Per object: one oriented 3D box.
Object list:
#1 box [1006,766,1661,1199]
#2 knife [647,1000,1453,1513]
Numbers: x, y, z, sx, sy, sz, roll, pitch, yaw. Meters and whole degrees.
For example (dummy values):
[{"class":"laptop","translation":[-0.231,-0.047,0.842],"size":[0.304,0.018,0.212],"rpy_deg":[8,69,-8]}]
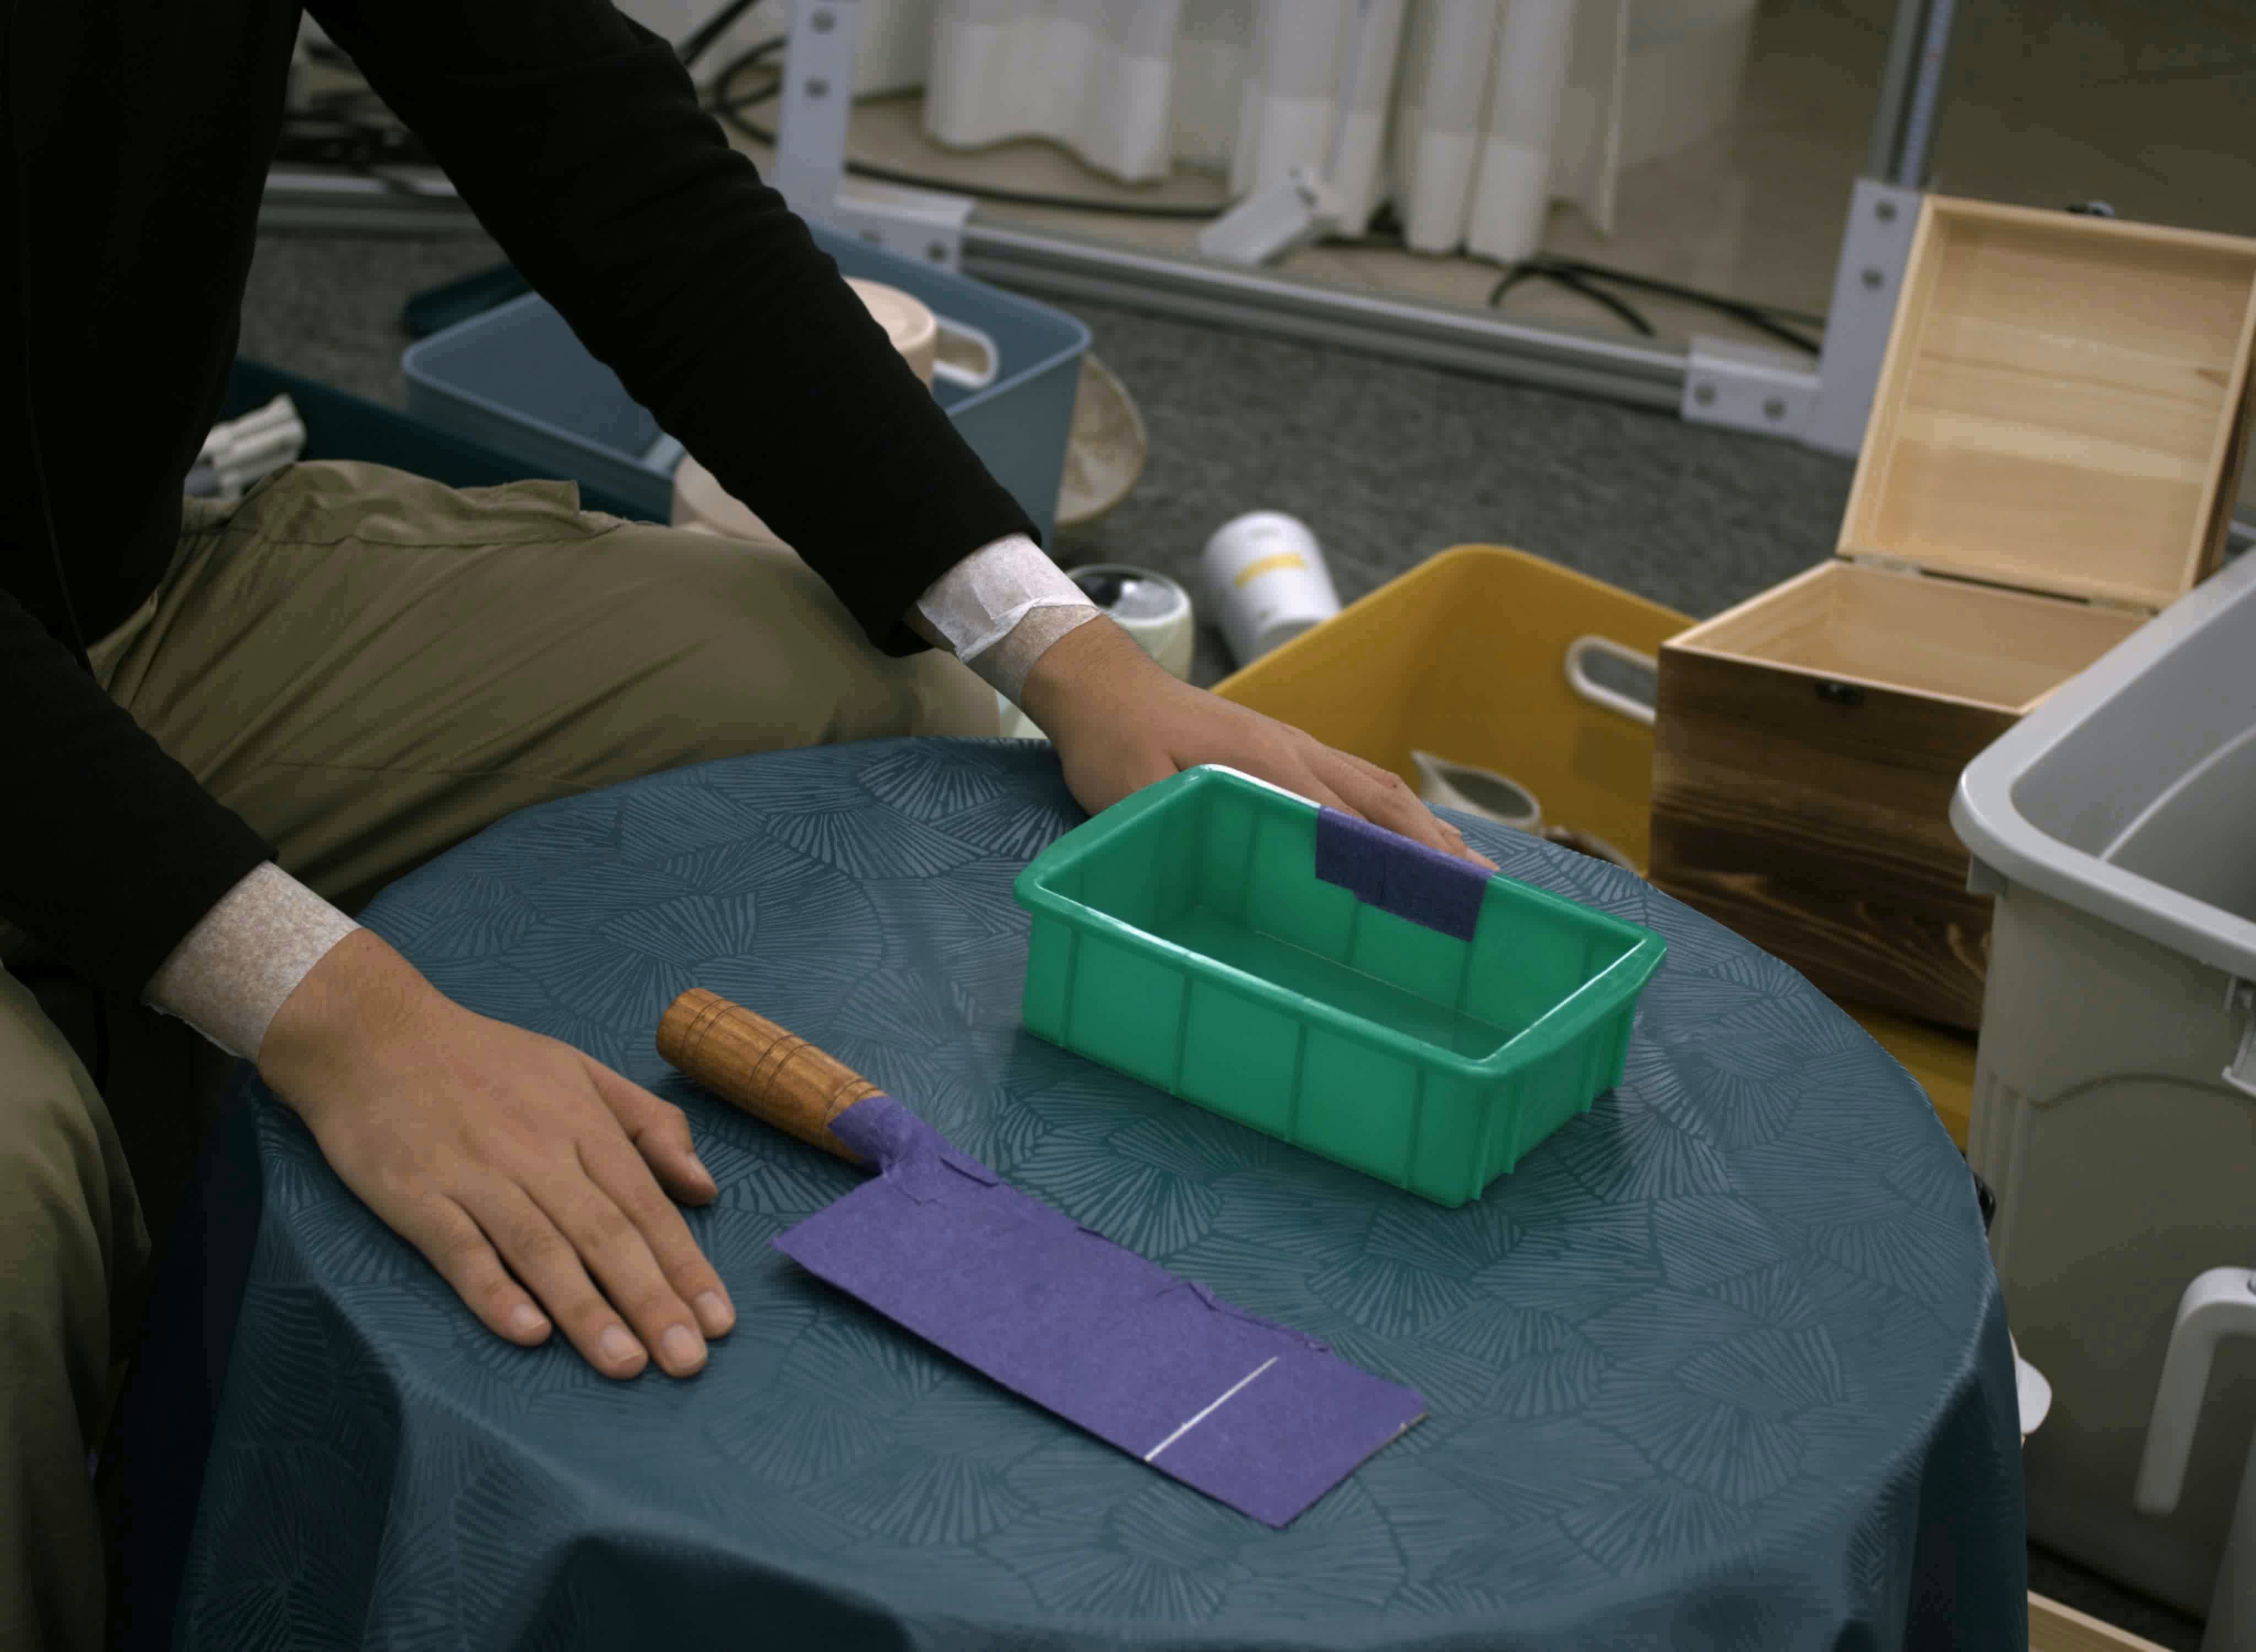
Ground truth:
[{"class":"box","translation":[0.070,0.055,1.883],"size":[0.211,0.065,0.138],"rpy_deg":[19,28,27]},{"class":"knife","translation":[-0.049,0.137,1.735],"size":[0.317,0.032,0.103],"rpy_deg":[24,31,29]}]
